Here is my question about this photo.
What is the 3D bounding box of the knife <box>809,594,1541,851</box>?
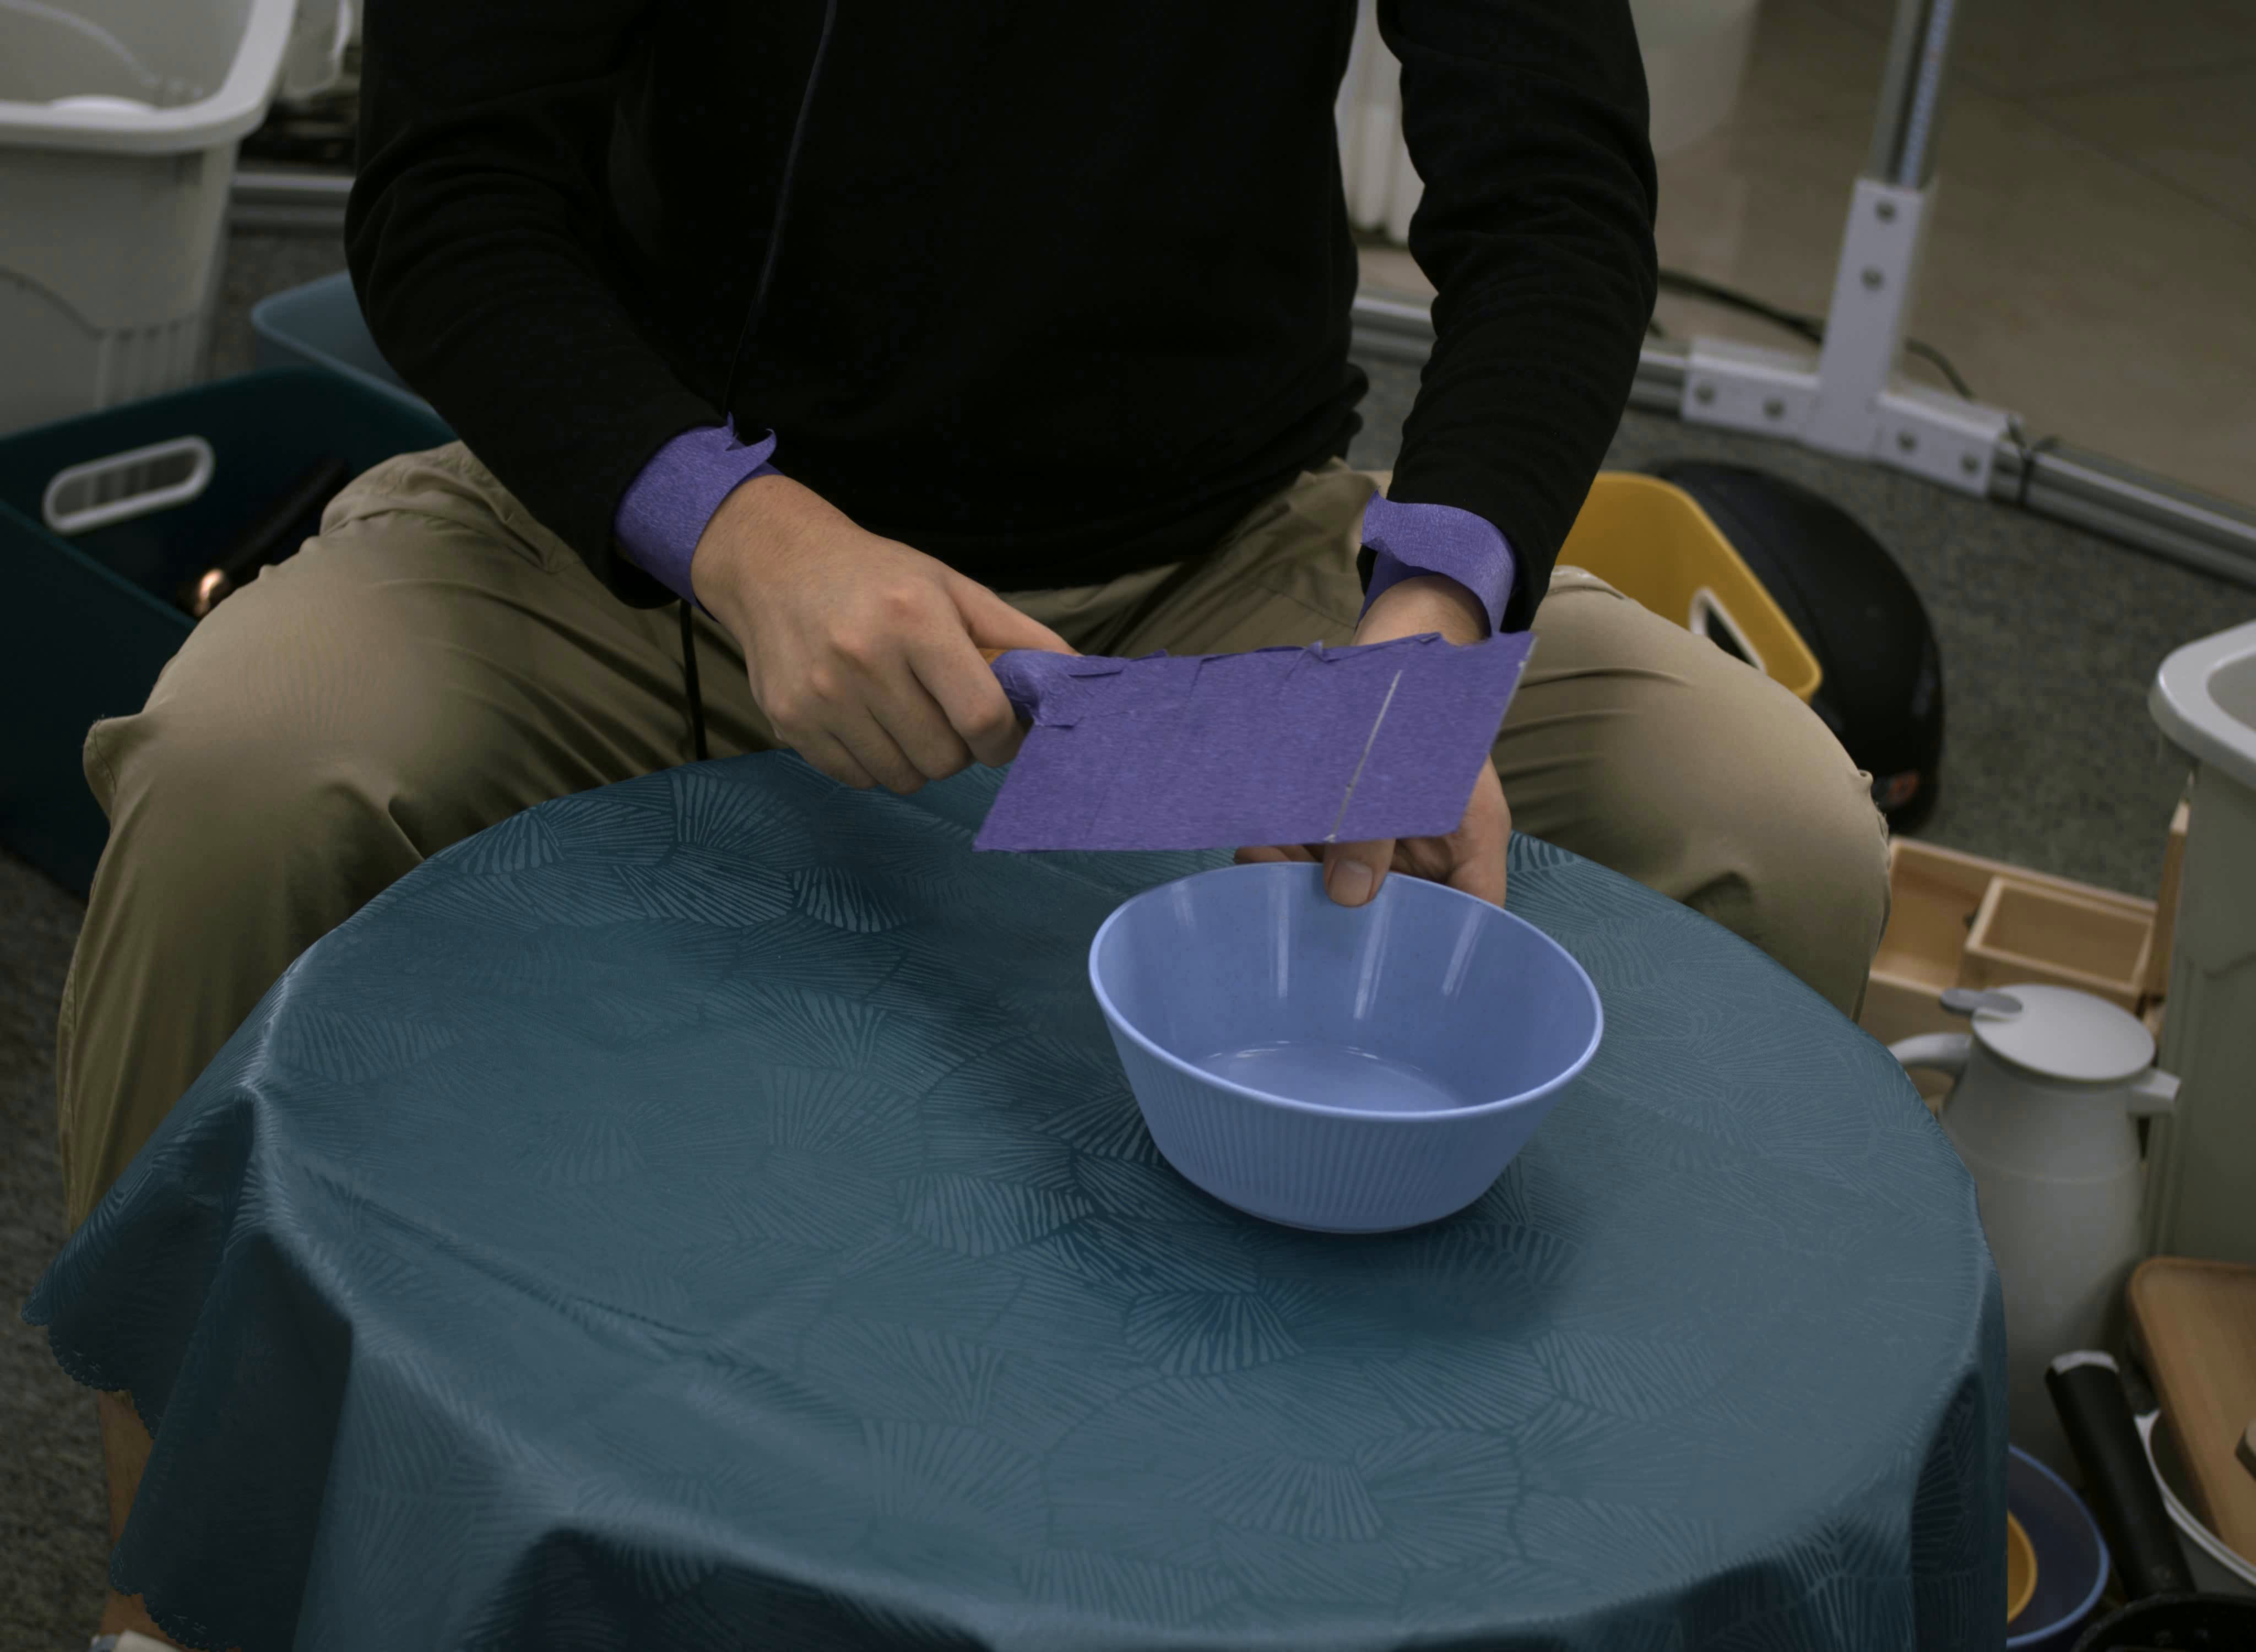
[{"bbox_3d":[0.000,-0.032,1.876,0.316,0.032,0.104,-5,46,39],"label":"knife"}]

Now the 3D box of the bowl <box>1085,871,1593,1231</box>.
[{"bbox_3d":[0.068,0.083,1.824,0.175,0.070,0.177,6,26,-3],"label":"bowl"}]
